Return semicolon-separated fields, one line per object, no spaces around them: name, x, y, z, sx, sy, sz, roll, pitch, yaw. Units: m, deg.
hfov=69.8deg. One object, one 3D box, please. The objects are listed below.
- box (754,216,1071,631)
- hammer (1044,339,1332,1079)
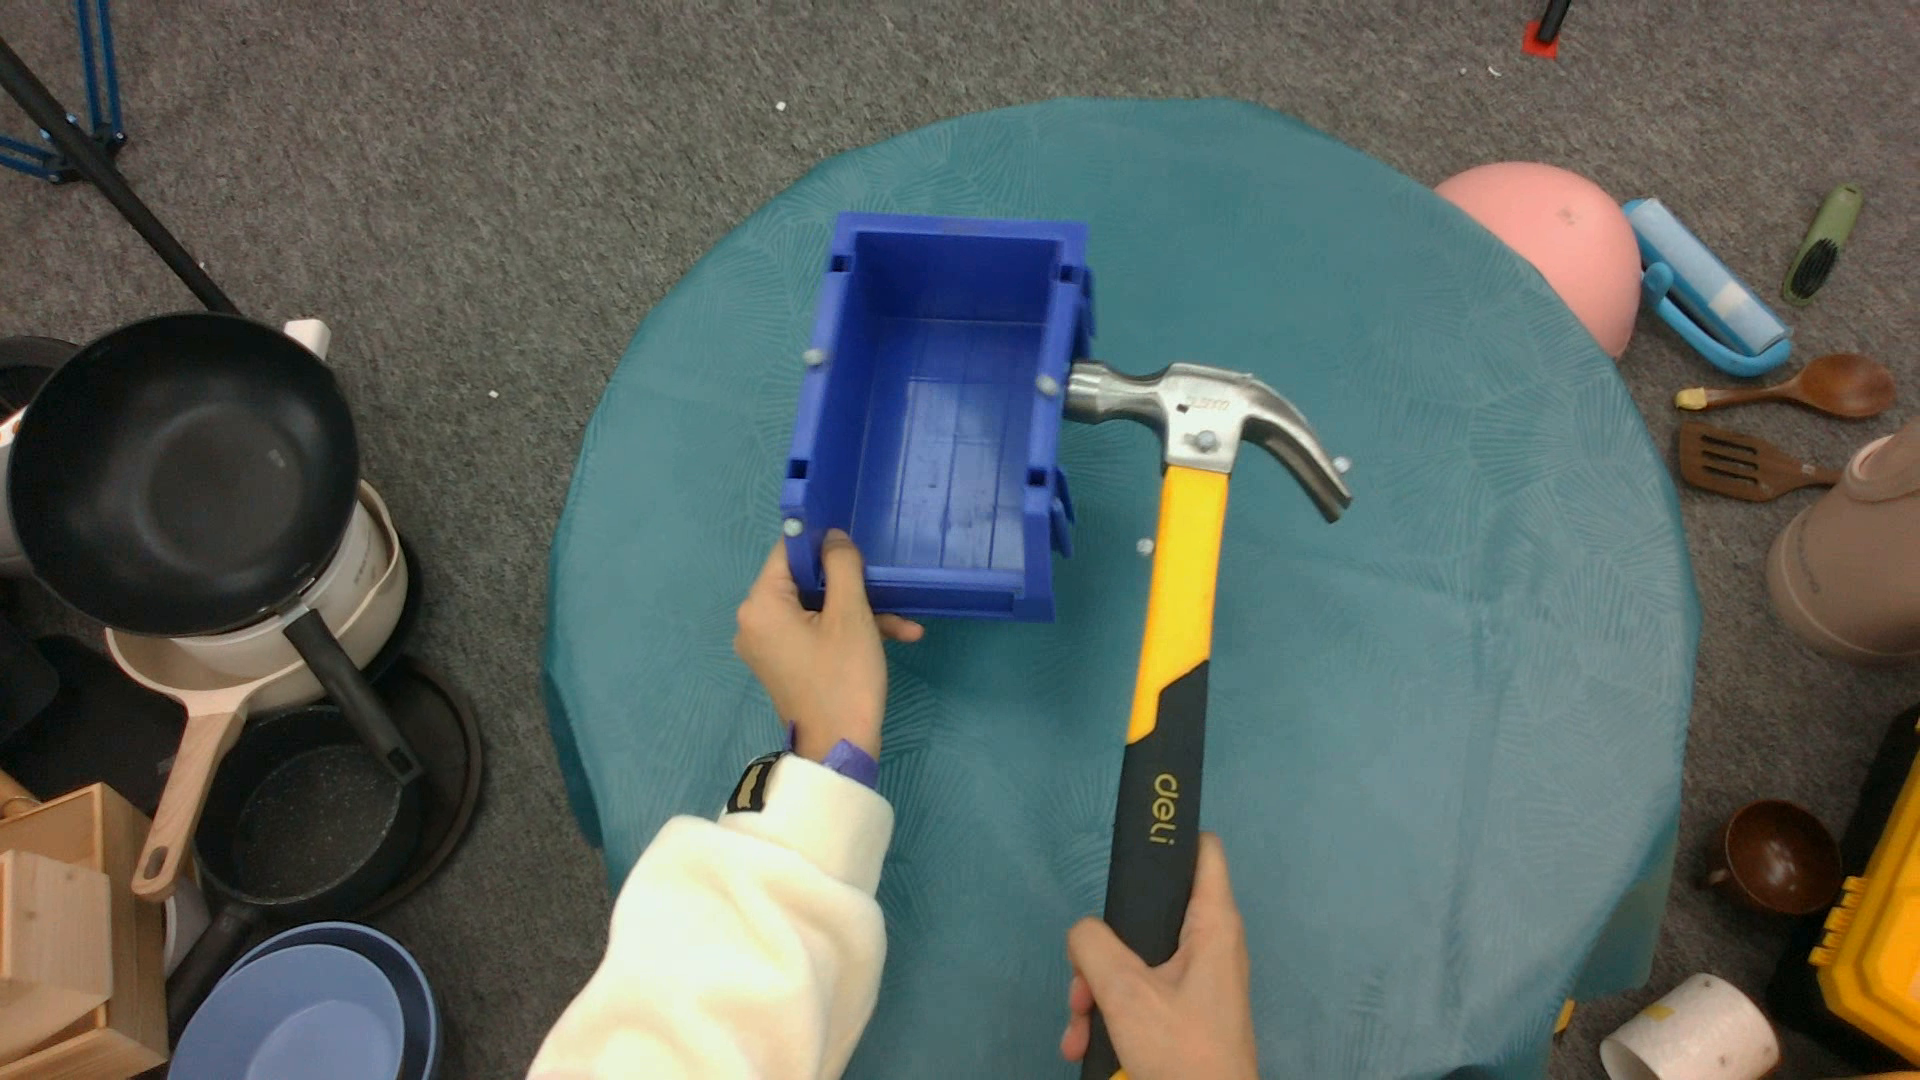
box;-0.017;-0.053;0.645;0.124;0.081;0.180;3;68;9
hammer;0.079;0.073;0.578;0.131;0.032;0.339;10;69;2
